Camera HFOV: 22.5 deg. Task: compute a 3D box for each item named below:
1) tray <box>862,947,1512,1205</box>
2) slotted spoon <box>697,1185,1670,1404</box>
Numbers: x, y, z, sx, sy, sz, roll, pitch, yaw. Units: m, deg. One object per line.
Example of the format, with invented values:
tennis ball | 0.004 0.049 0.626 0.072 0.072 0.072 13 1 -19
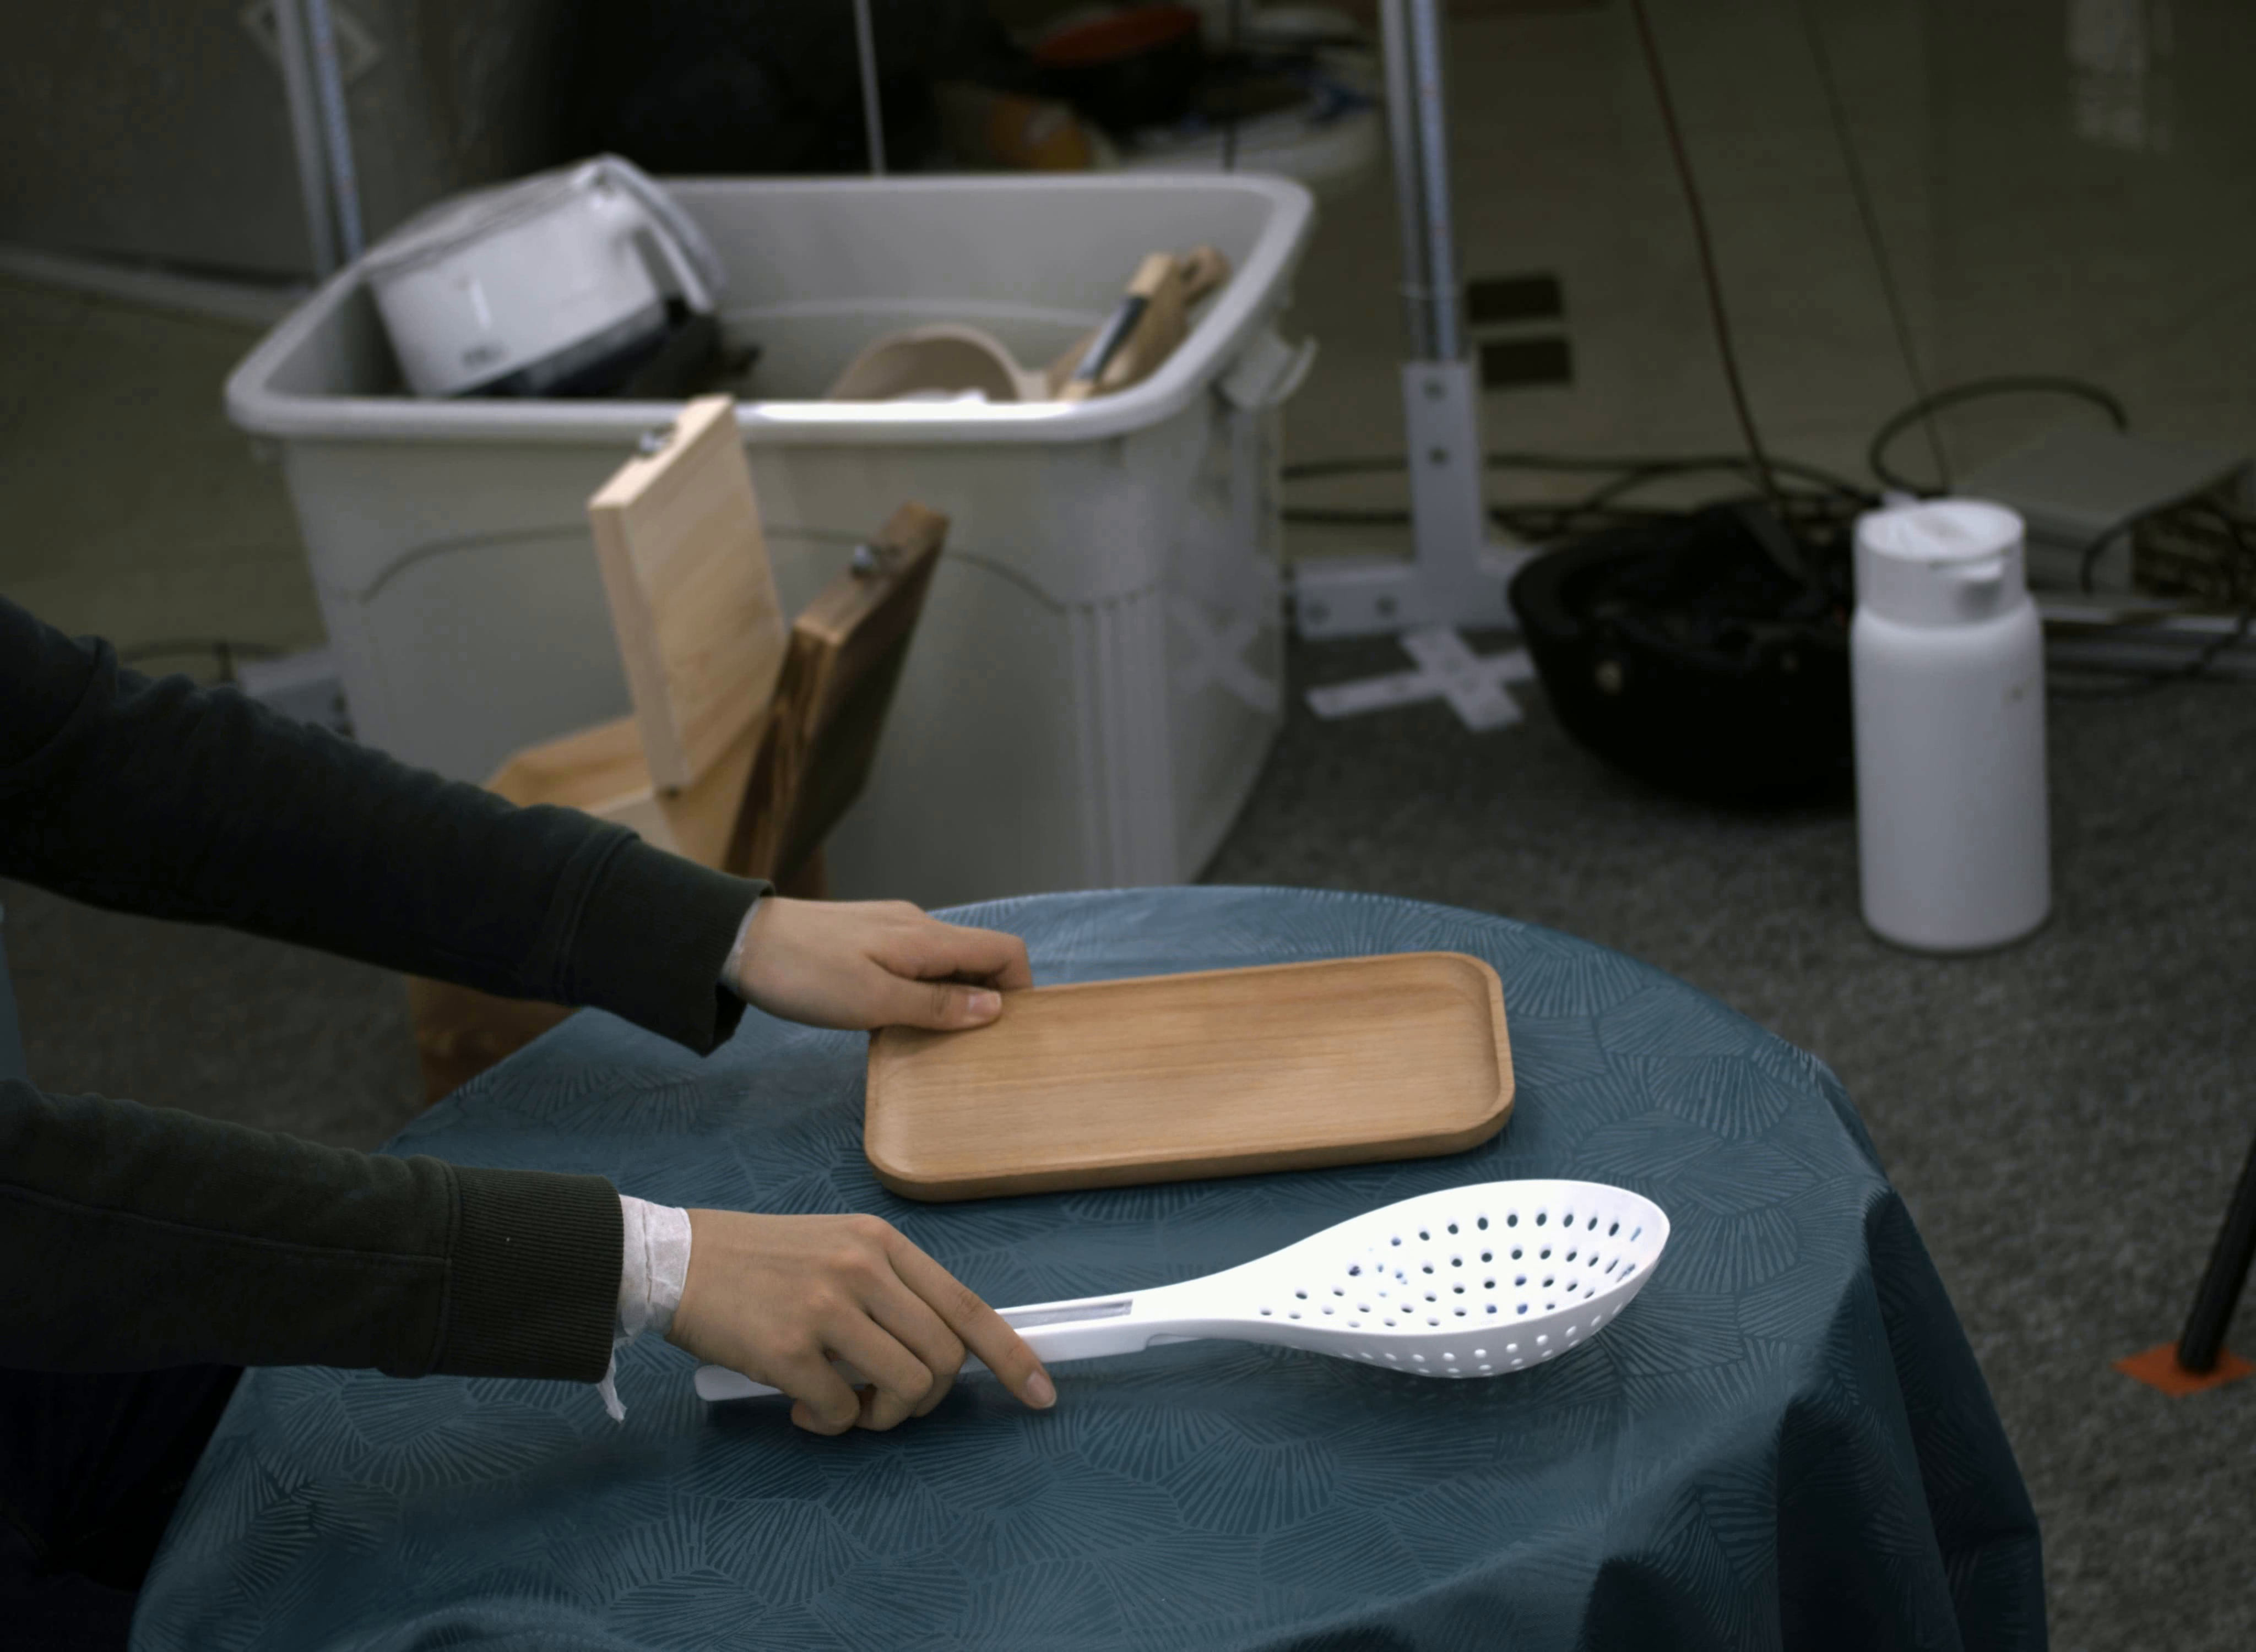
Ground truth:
tray | 0.022 0.097 2.199 0.250 0.023 0.128 -6 31 3
slotted spoon | 0.018 0.173 2.015 0.349 0.046 0.134 -4 16 6
